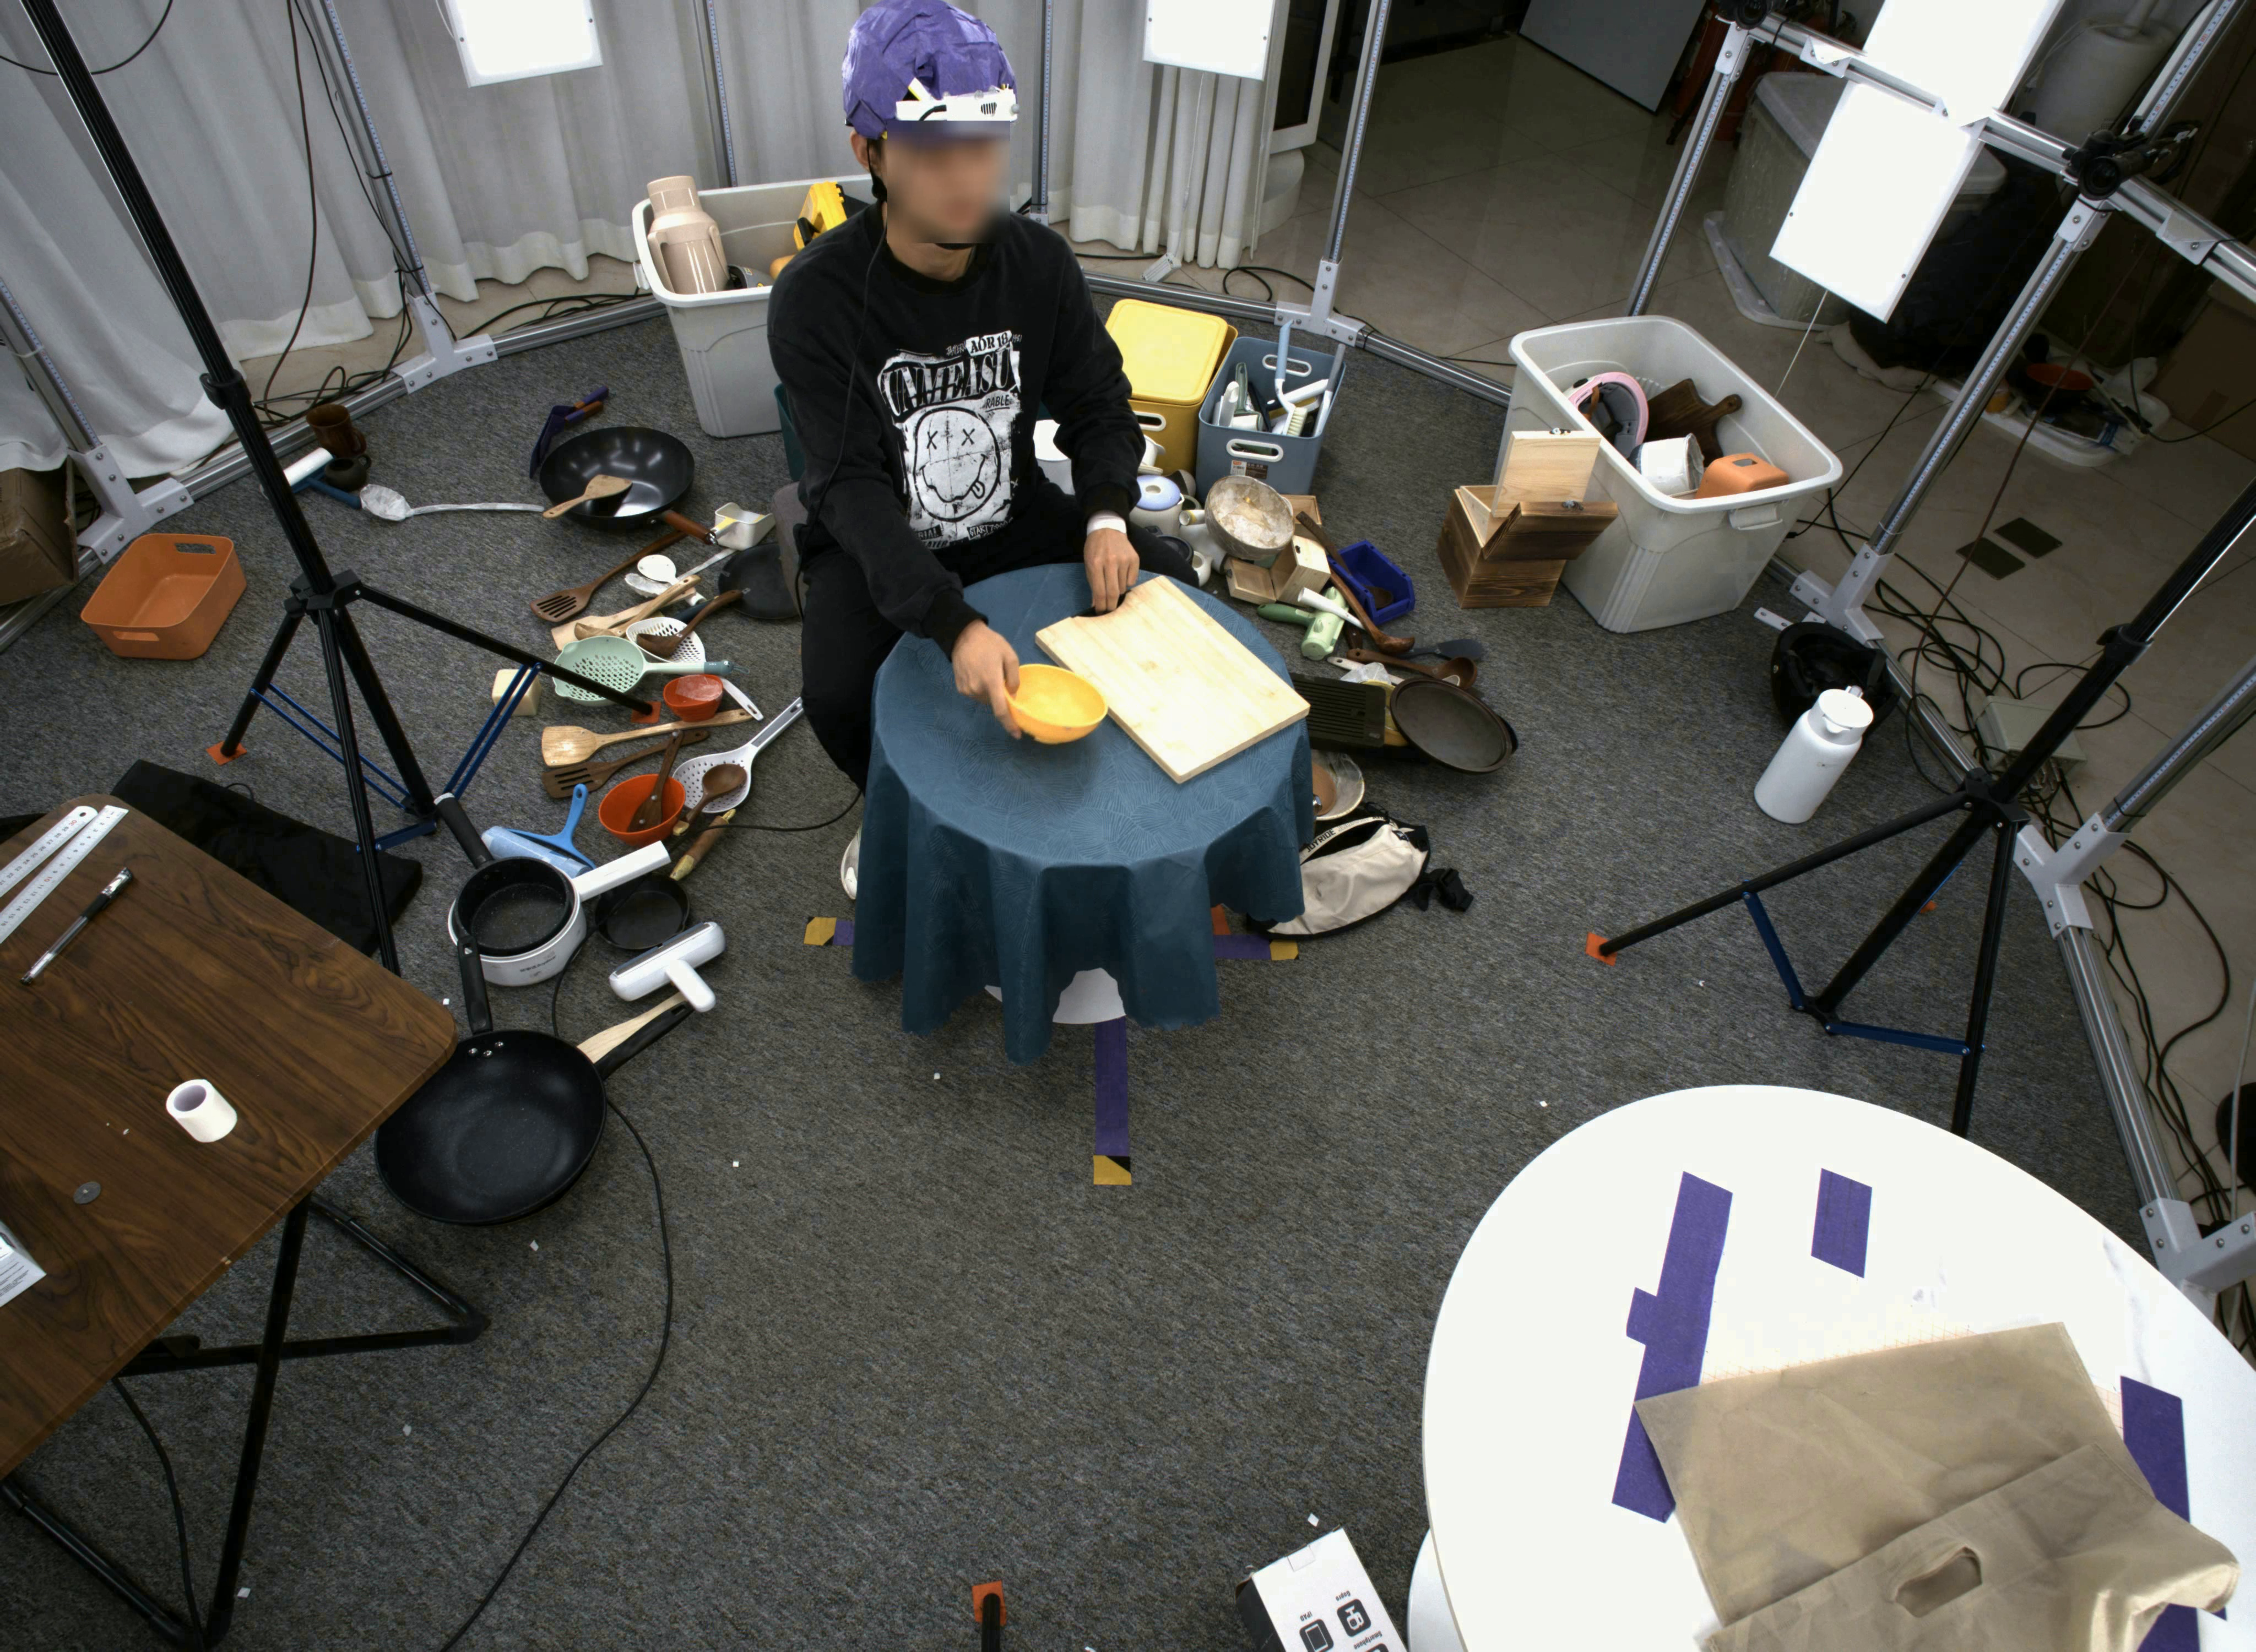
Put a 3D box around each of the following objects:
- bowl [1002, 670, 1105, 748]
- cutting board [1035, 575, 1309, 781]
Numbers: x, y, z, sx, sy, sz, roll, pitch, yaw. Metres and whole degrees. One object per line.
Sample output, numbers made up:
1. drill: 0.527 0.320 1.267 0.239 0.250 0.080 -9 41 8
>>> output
1. bowl: -0.107 -0.149 1.744 0.145 0.059 0.149 13 35 -10
2. cutting board: 0.060 -0.224 1.873 0.252 0.023 0.355 -29 57 -26
